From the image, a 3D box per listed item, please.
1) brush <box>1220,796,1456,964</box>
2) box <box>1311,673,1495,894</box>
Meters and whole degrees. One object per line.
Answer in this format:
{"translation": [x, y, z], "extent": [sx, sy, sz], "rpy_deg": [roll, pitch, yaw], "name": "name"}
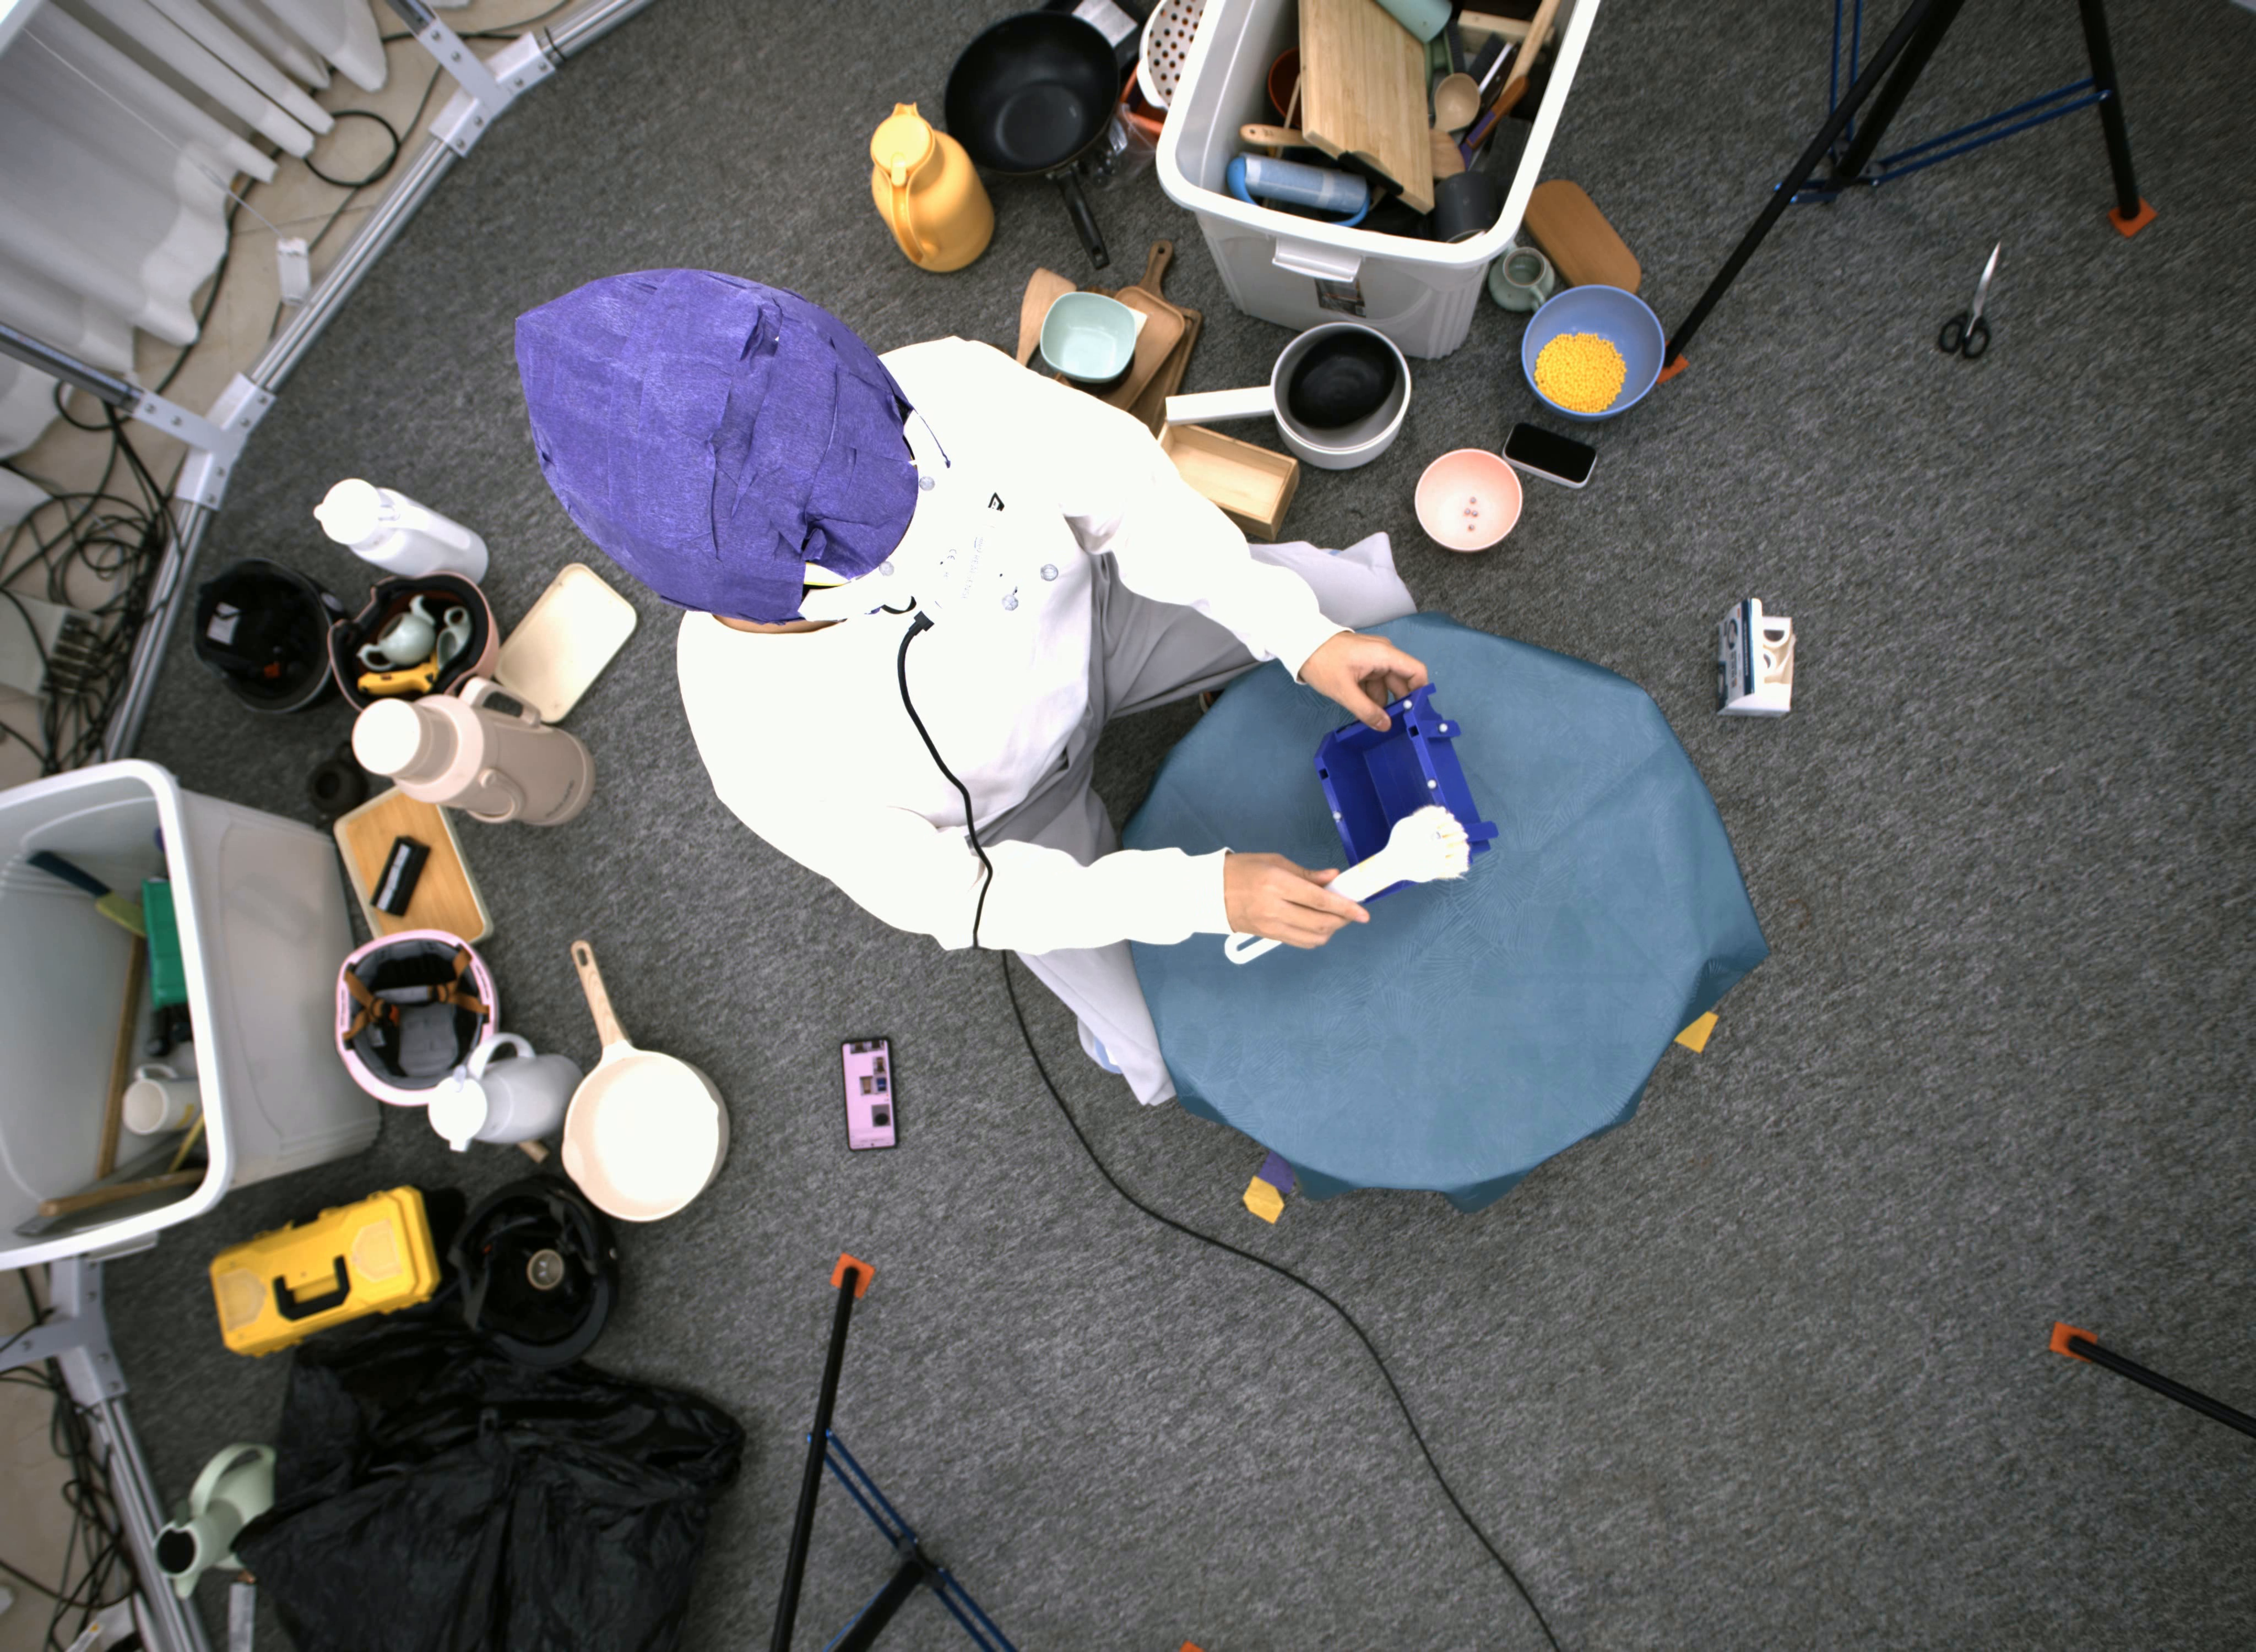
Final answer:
{"translation": [0.194, 0.057, 1.299], "extent": [0.272, 0.055, 0.068], "rpy_deg": [-38, 71, 35], "name": "brush"}
{"translation": [0.261, -0.042, 1.326], "extent": [0.127, 0.081, 0.178], "rpy_deg": [-25, 81, 41], "name": "box"}
